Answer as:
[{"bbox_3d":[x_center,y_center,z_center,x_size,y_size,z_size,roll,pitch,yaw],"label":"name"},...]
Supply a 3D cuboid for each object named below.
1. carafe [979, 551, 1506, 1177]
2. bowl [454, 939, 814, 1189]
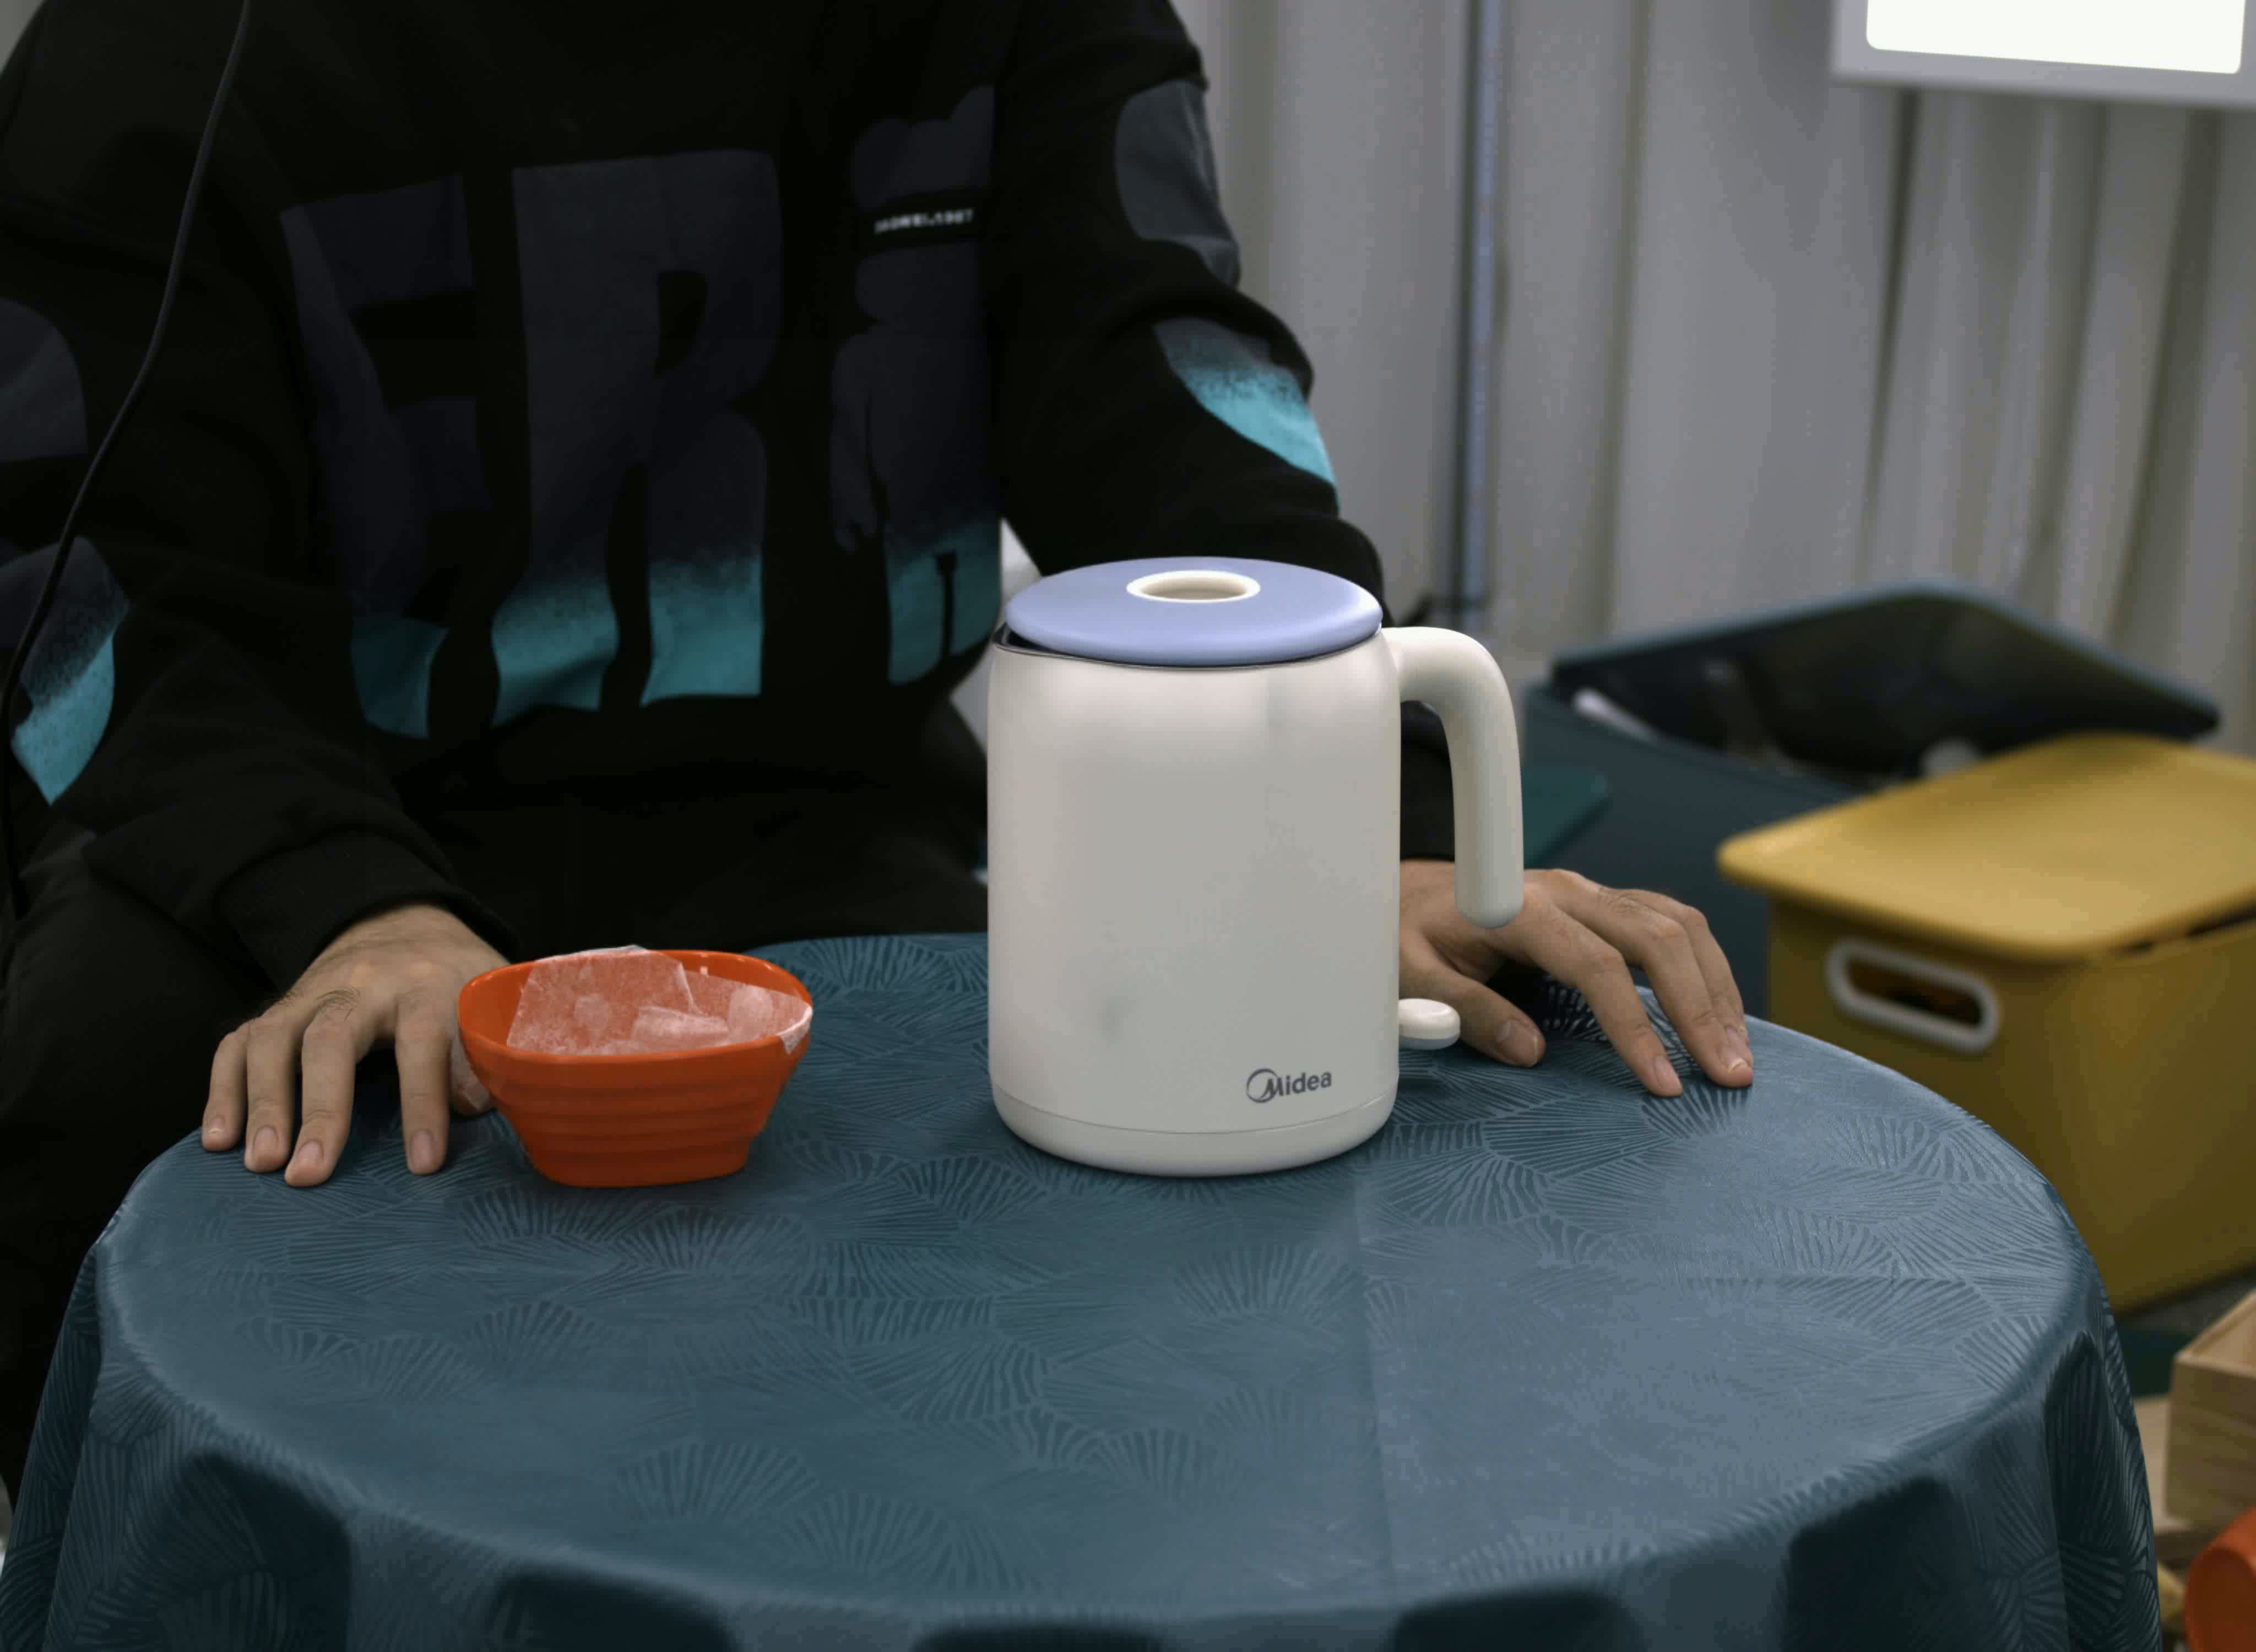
[{"bbox_3d":[0.041,0.009,1.676,0.192,0.184,0.130,-6,18,-29],"label":"carafe"},{"bbox_3d":[-0.153,0.076,1.644,0.118,0.052,0.118,0,18,1],"label":"bowl"}]
